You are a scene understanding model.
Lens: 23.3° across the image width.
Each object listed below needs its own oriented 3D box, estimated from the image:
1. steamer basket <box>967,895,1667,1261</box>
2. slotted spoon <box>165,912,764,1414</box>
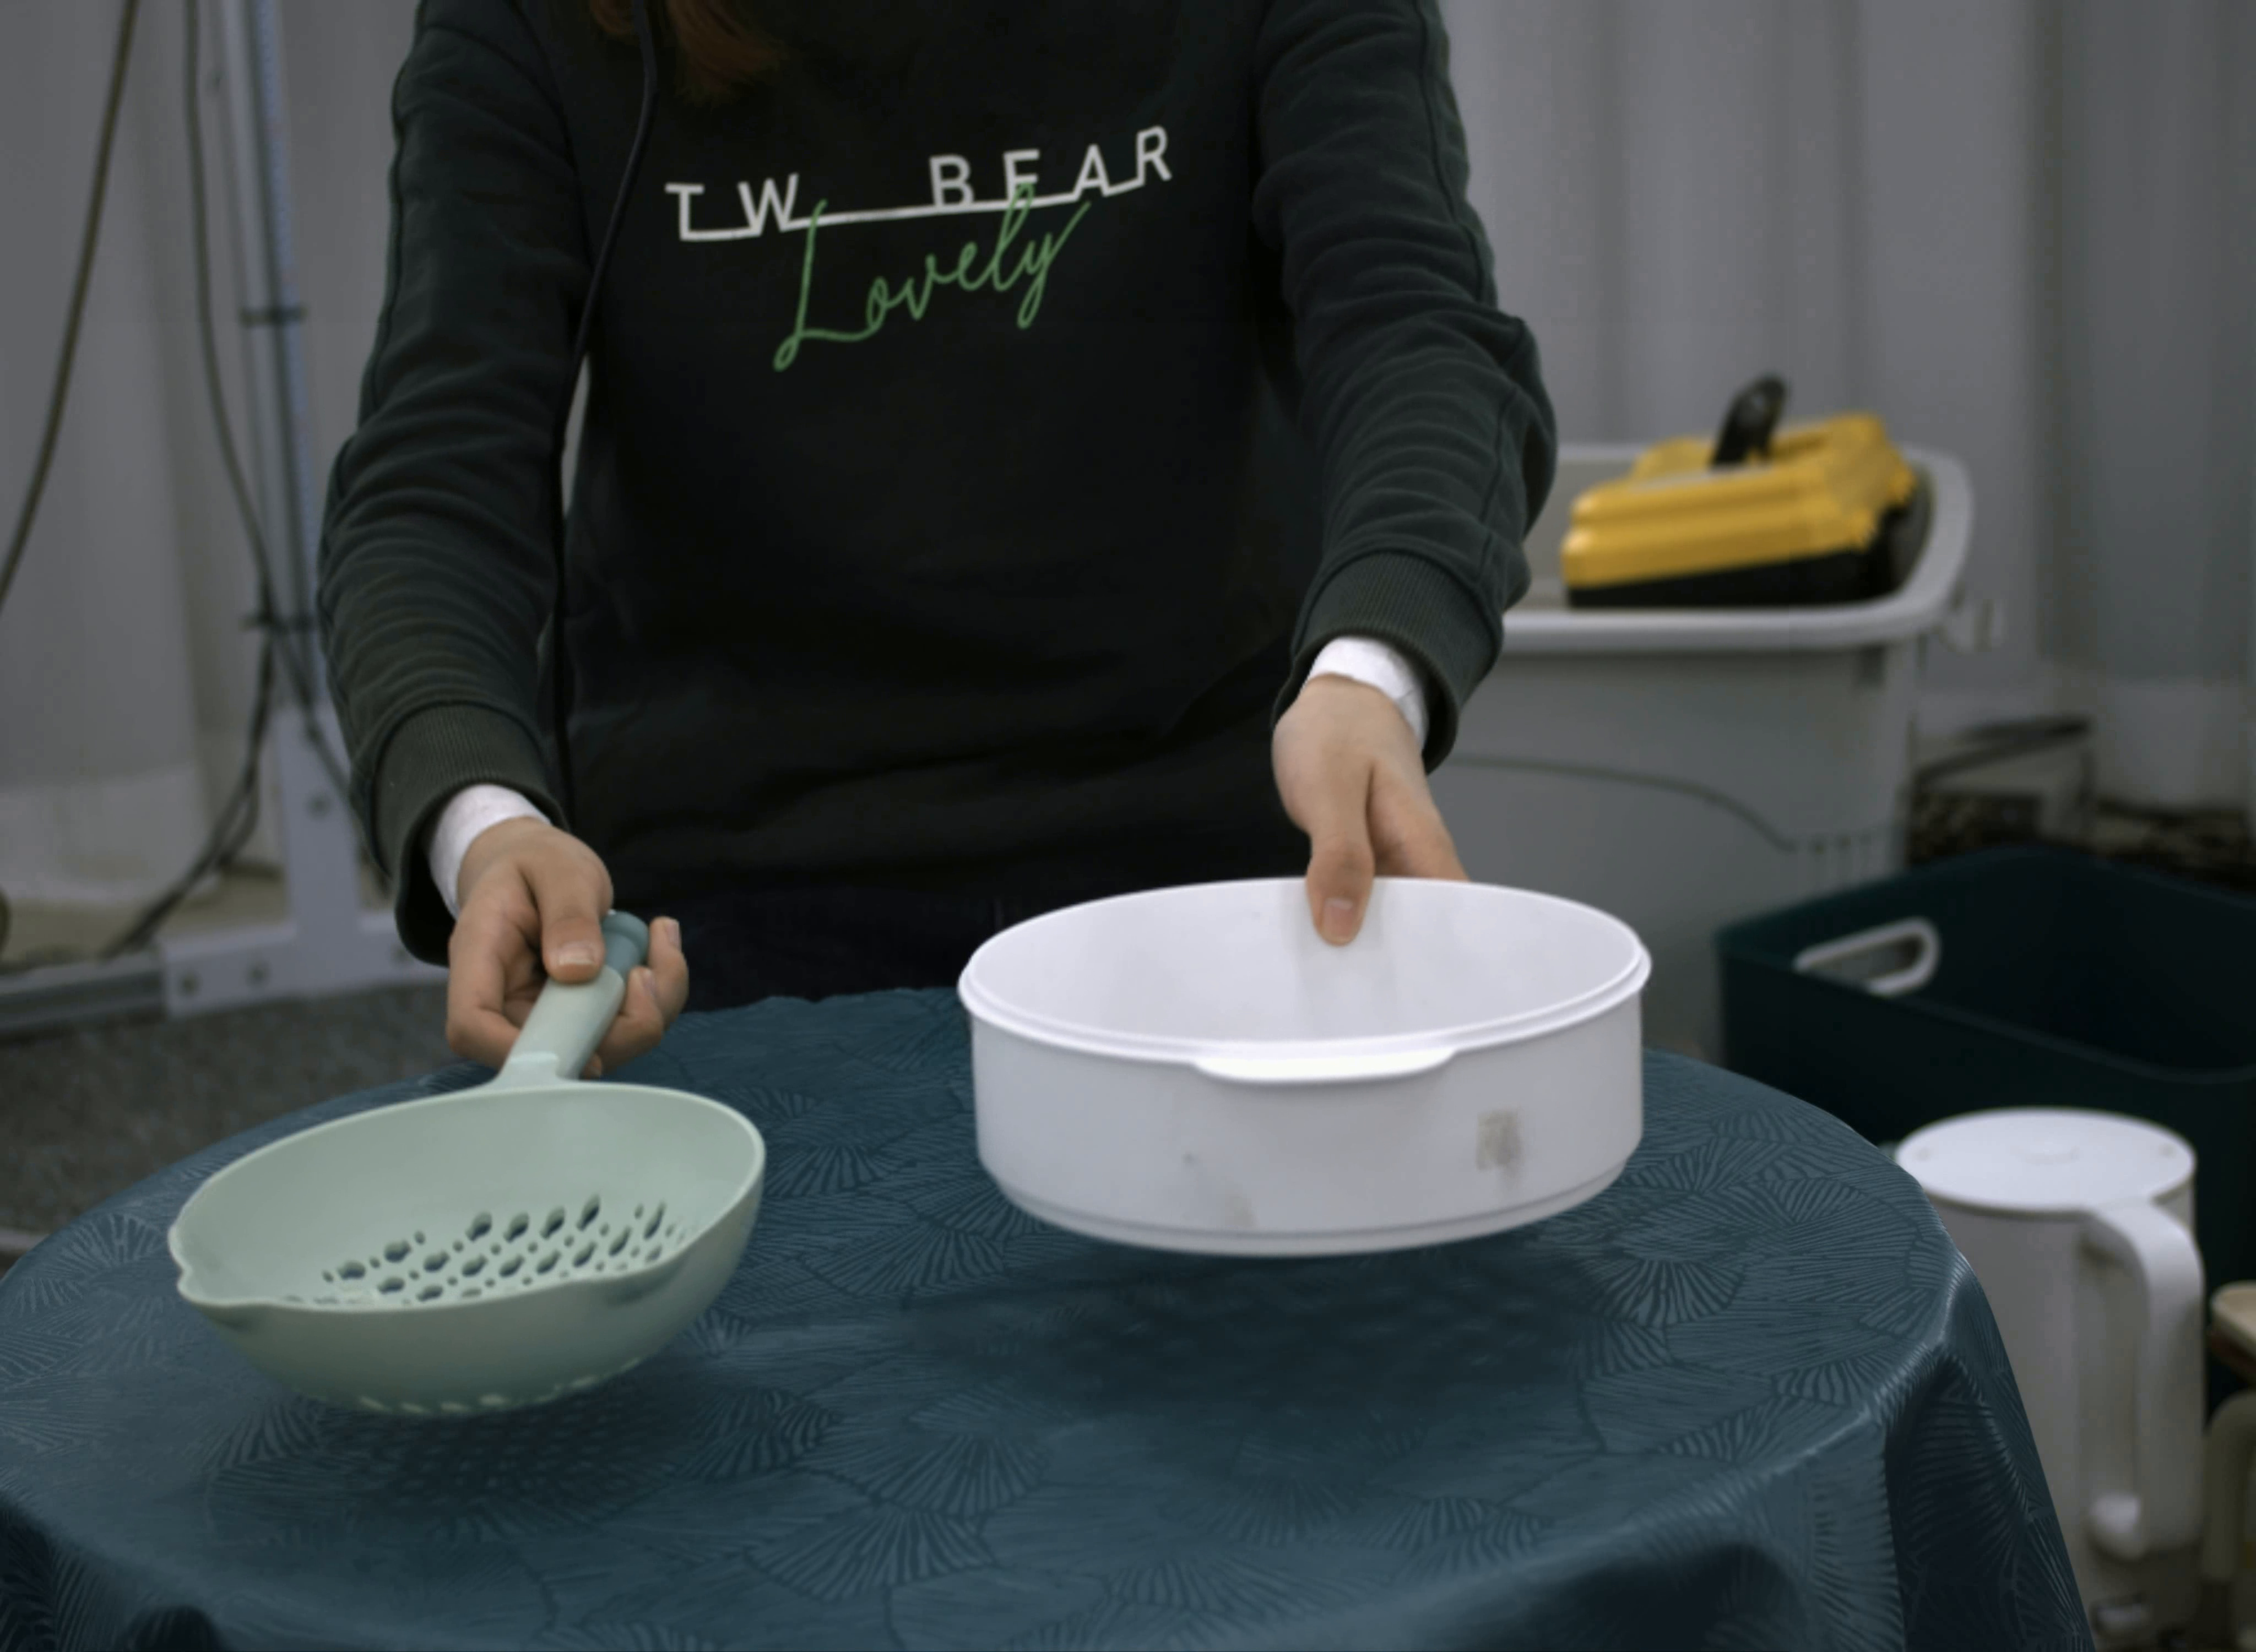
[{"bbox_3d":[0.054,0.072,1.579,0.201,0.069,0.232,-1,11,-2],"label":"steamer basket"},{"bbox_3d":[-0.177,0.084,1.628,0.169,0.075,0.362,-4,24,6],"label":"slotted spoon"}]
